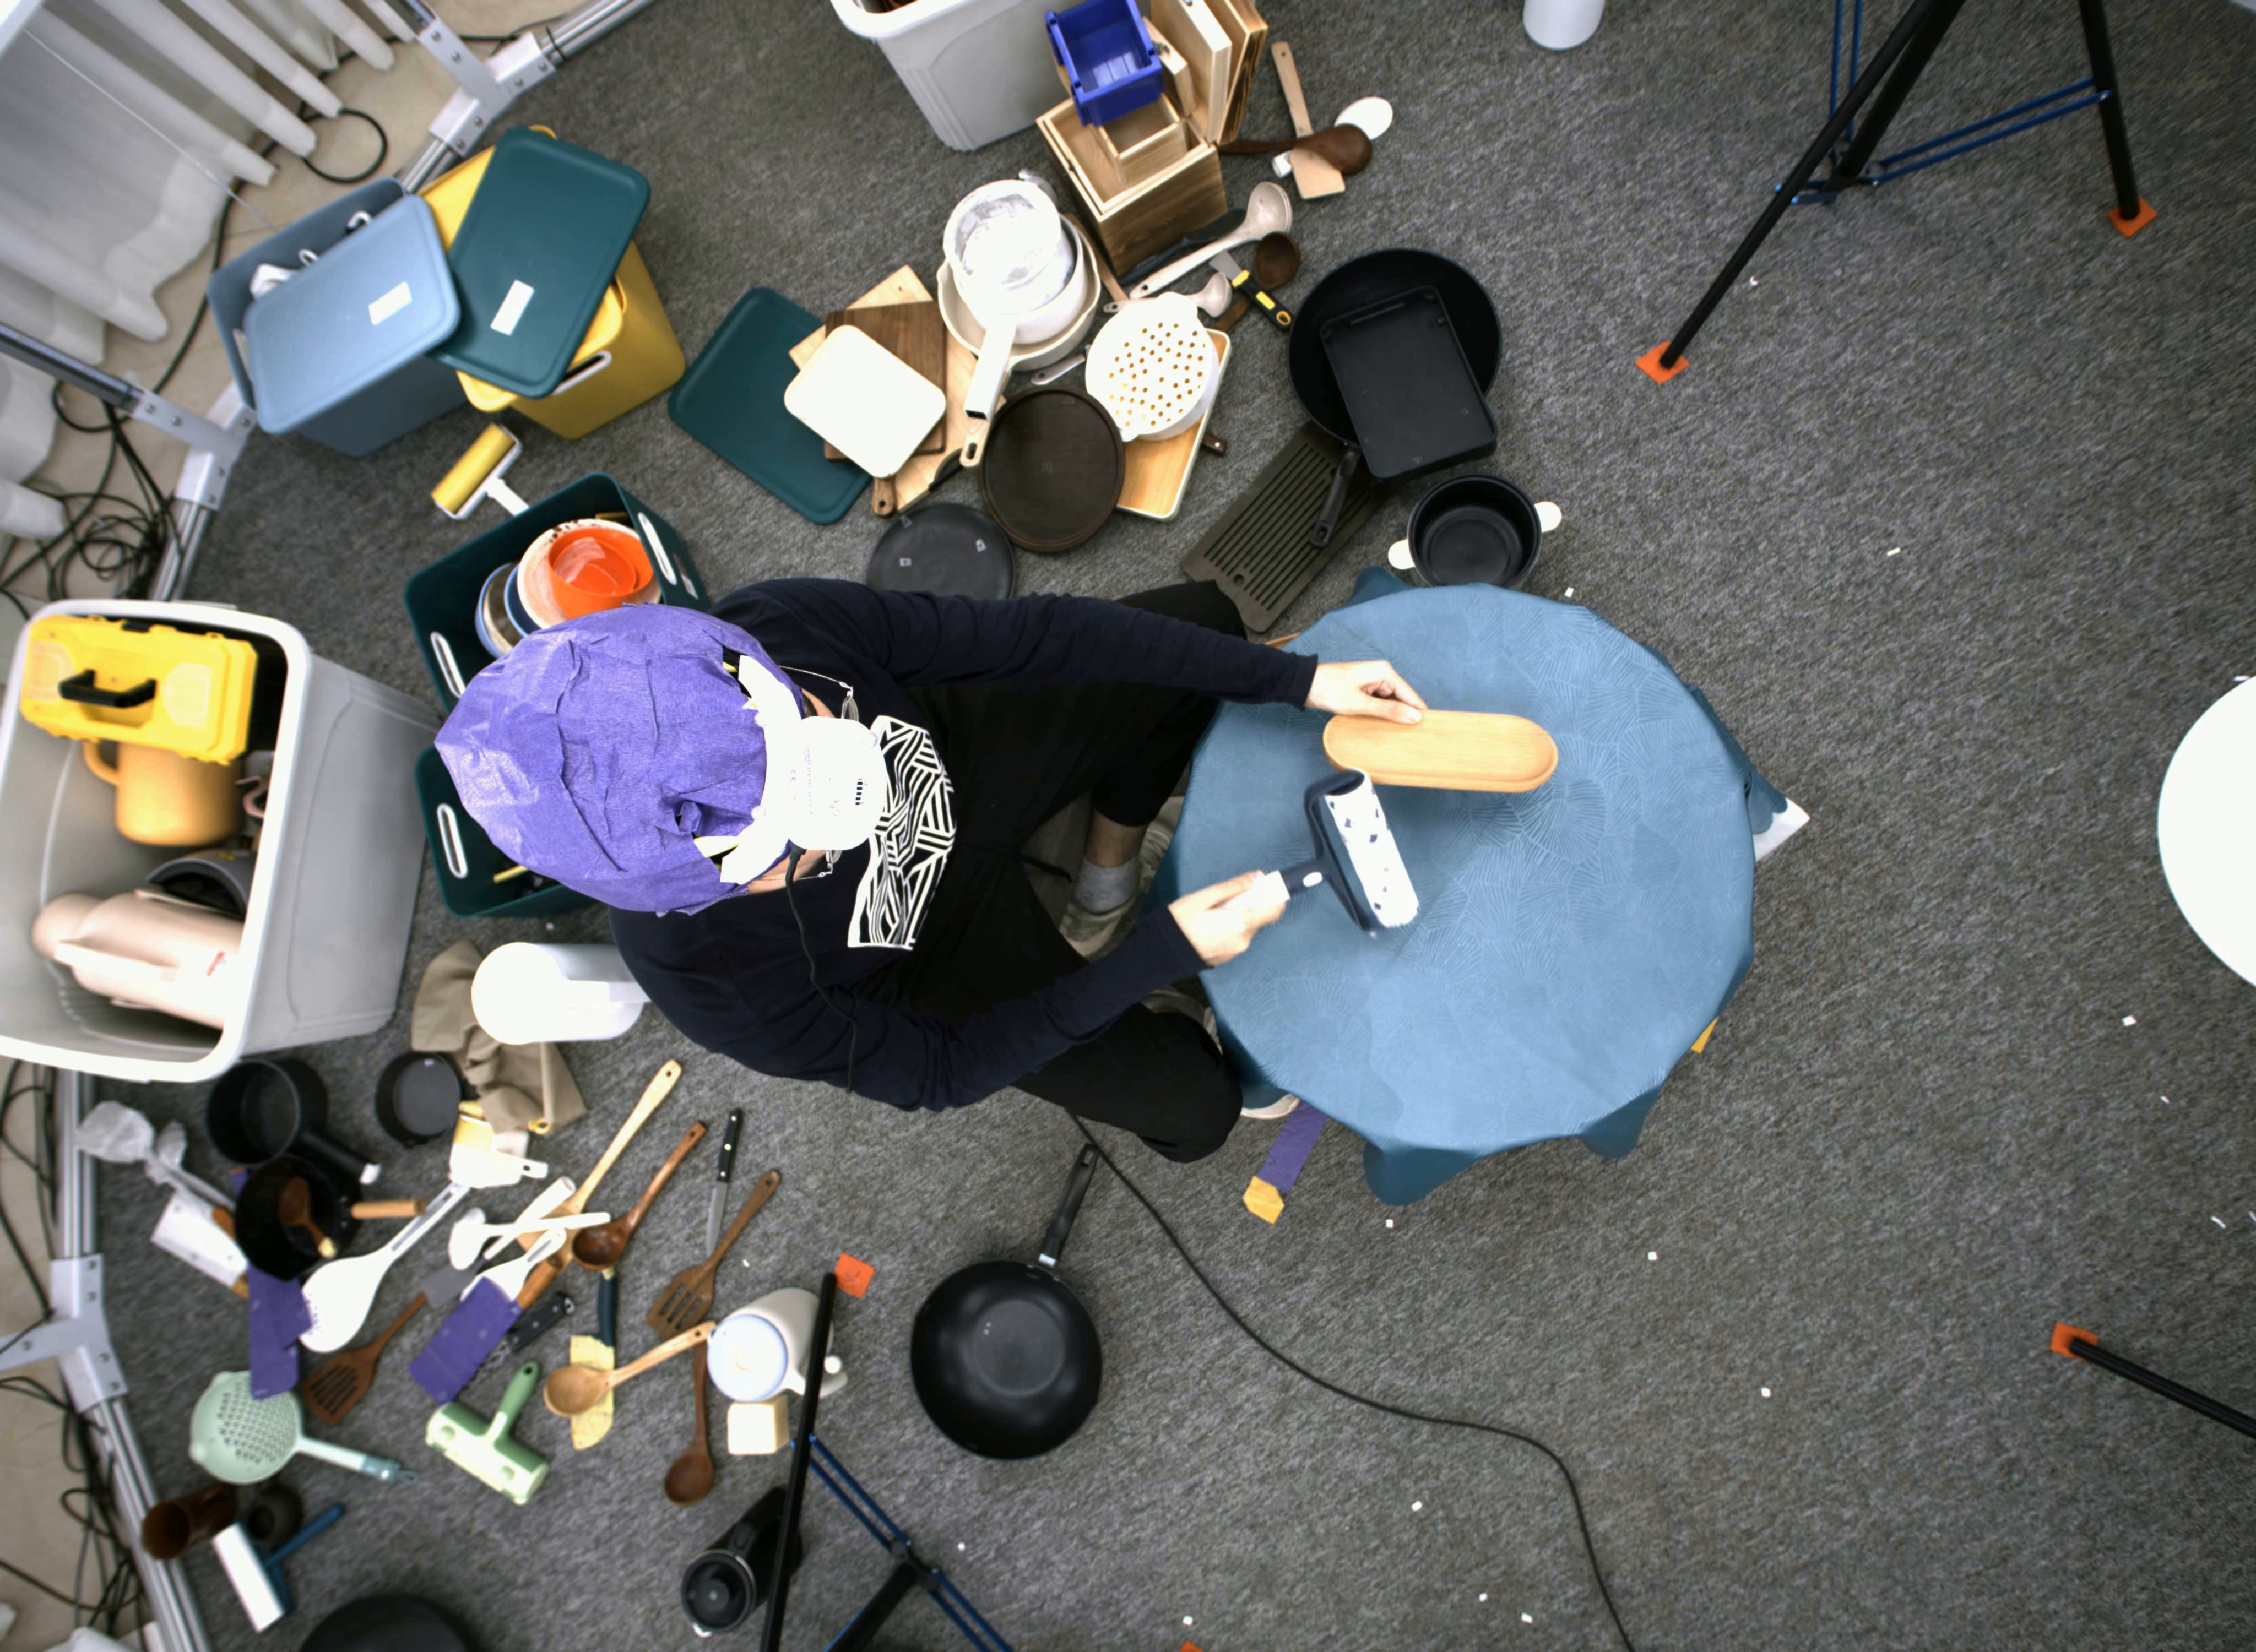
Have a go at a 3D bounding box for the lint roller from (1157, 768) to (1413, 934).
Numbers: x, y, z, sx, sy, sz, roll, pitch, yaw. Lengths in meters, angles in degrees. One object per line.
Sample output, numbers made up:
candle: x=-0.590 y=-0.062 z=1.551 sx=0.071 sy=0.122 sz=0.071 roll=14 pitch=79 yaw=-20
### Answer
lint roller: x=0.145 y=0.058 z=1.369 sx=0.248 sy=0.049 sz=0.179 roll=-24 pitch=124 yaw=9

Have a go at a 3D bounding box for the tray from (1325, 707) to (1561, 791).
tray: x=0.311 y=-0.078 z=1.360 sx=0.231 sy=0.021 sz=0.099 roll=4 pitch=49 yaw=4
